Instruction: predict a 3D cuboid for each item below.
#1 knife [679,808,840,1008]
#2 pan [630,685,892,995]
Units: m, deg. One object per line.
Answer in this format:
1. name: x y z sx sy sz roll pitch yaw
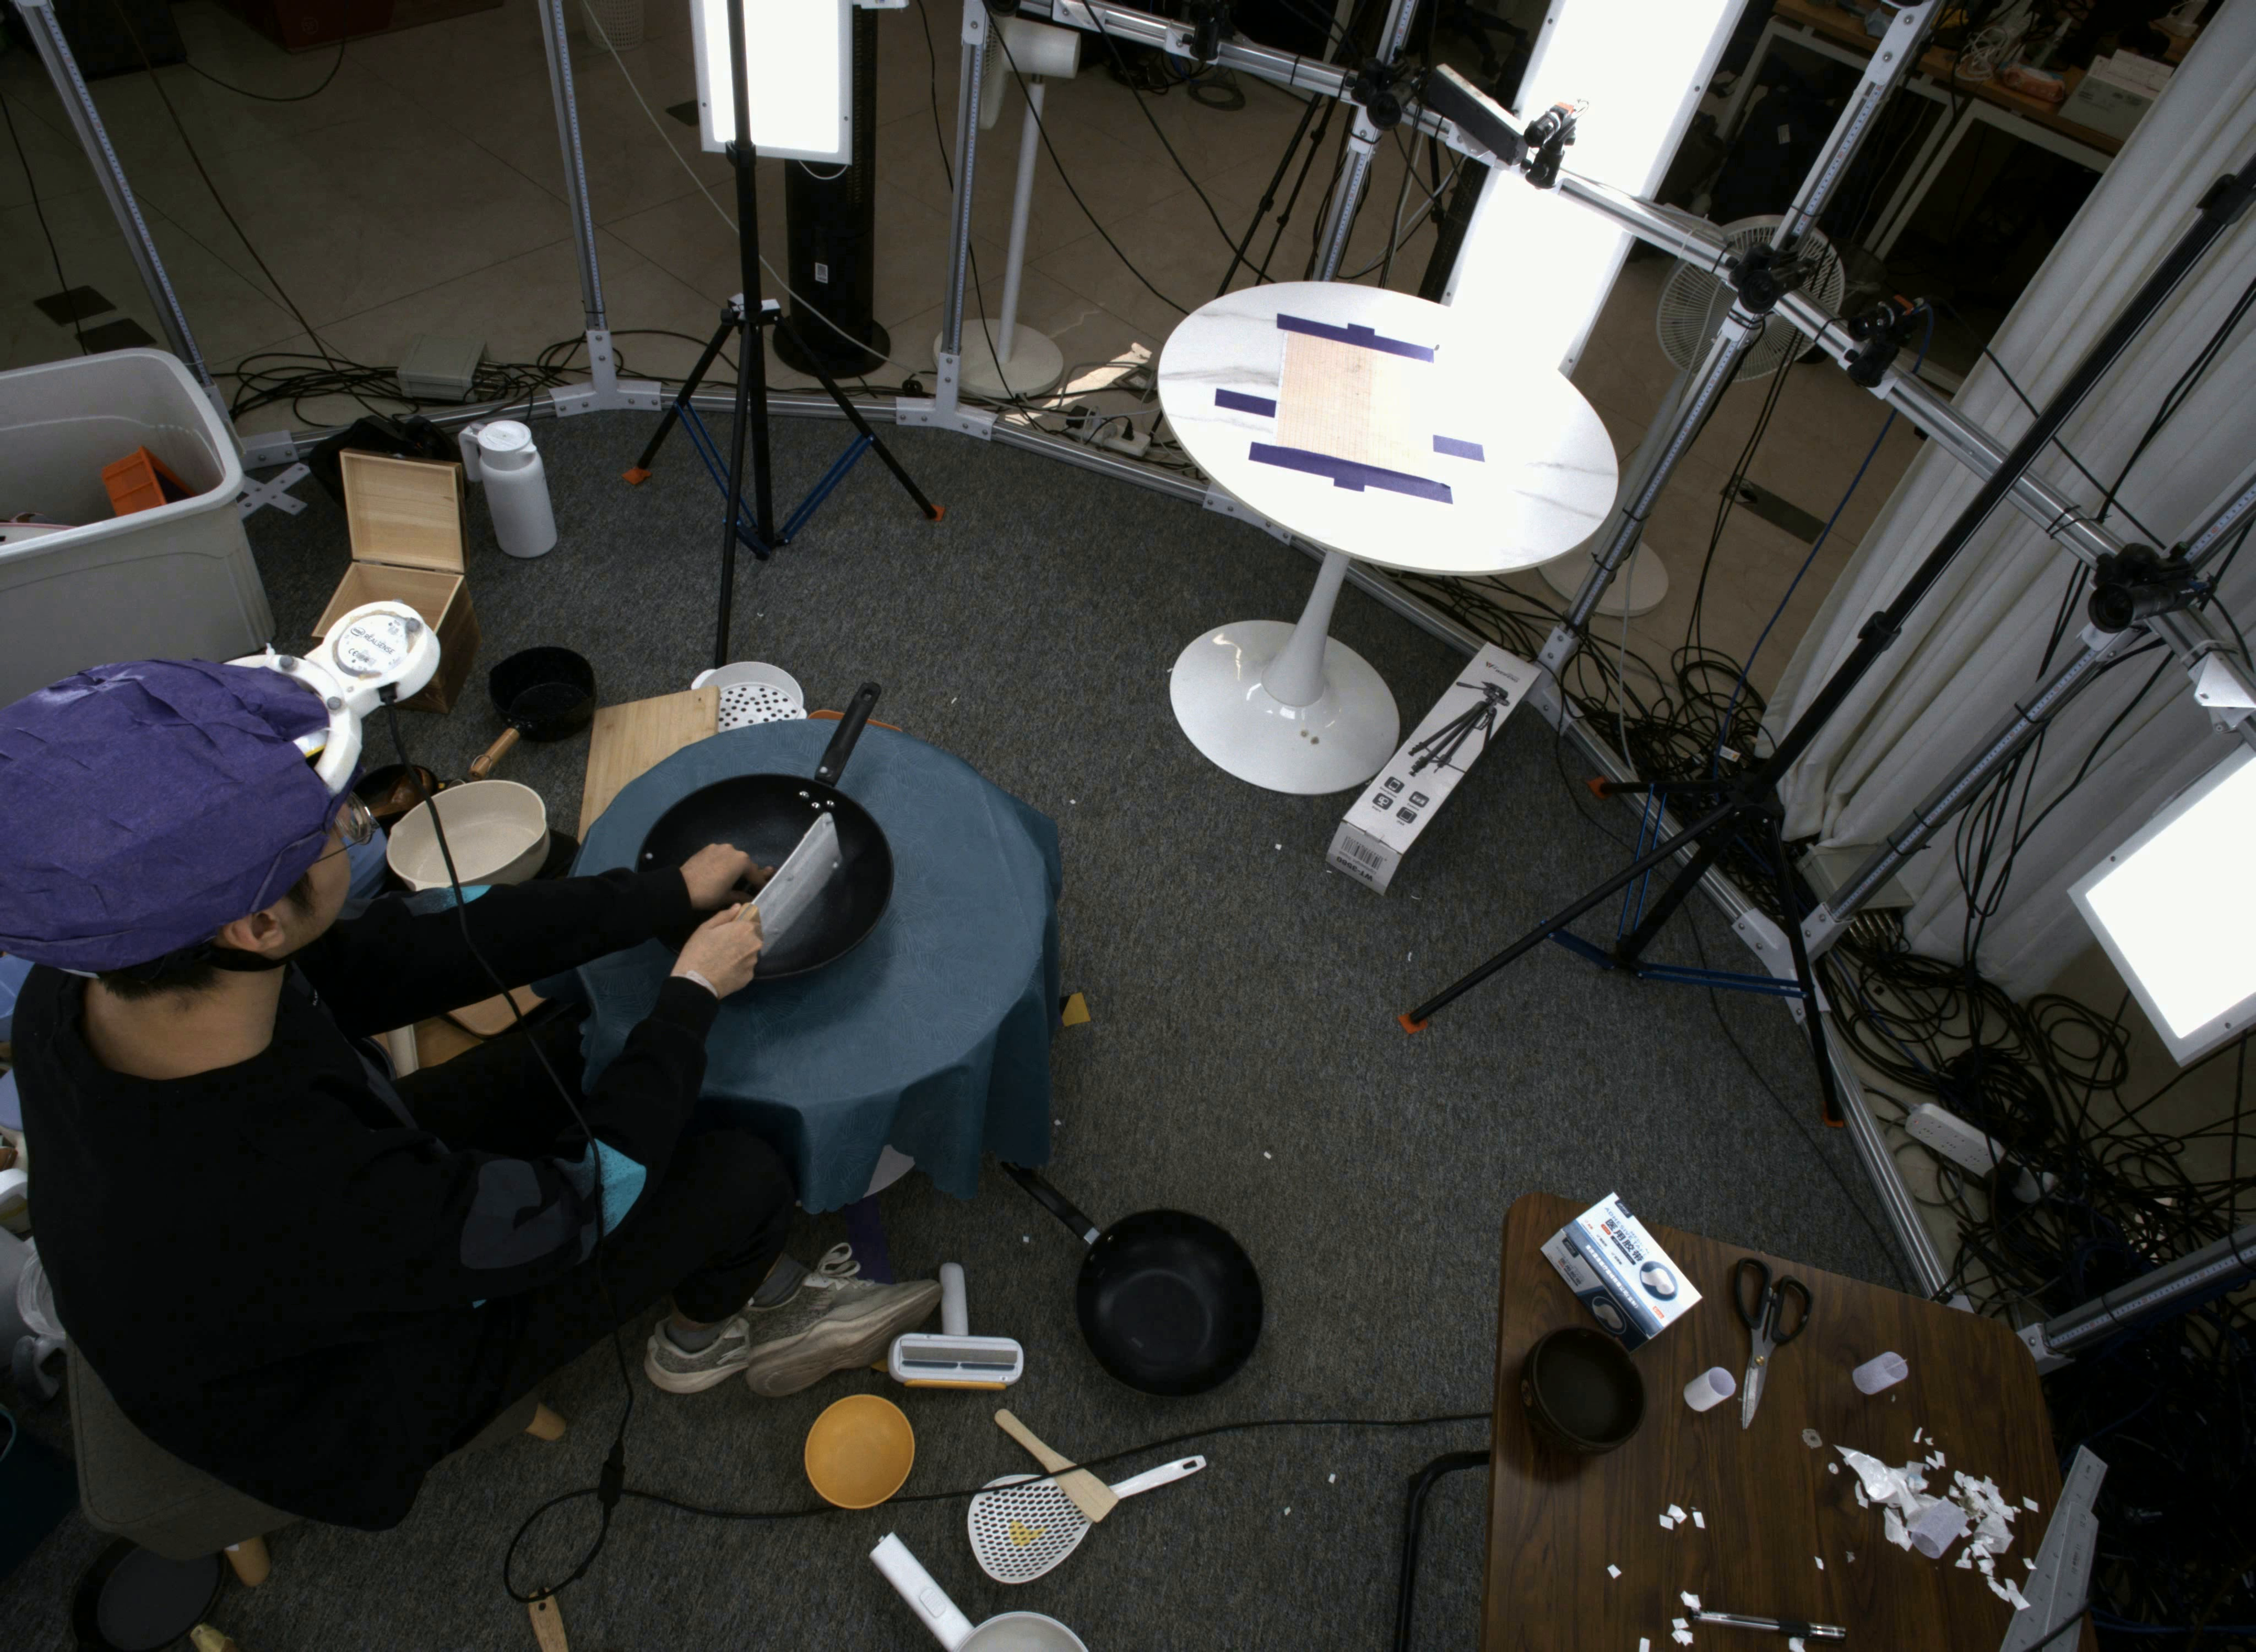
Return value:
1. knife: -0.425 0.095 1.517 0.021 0.117 0.313 16 41 15
2. pan: -0.422 0.017 1.633 0.308 0.113 0.472 21 51 -1
